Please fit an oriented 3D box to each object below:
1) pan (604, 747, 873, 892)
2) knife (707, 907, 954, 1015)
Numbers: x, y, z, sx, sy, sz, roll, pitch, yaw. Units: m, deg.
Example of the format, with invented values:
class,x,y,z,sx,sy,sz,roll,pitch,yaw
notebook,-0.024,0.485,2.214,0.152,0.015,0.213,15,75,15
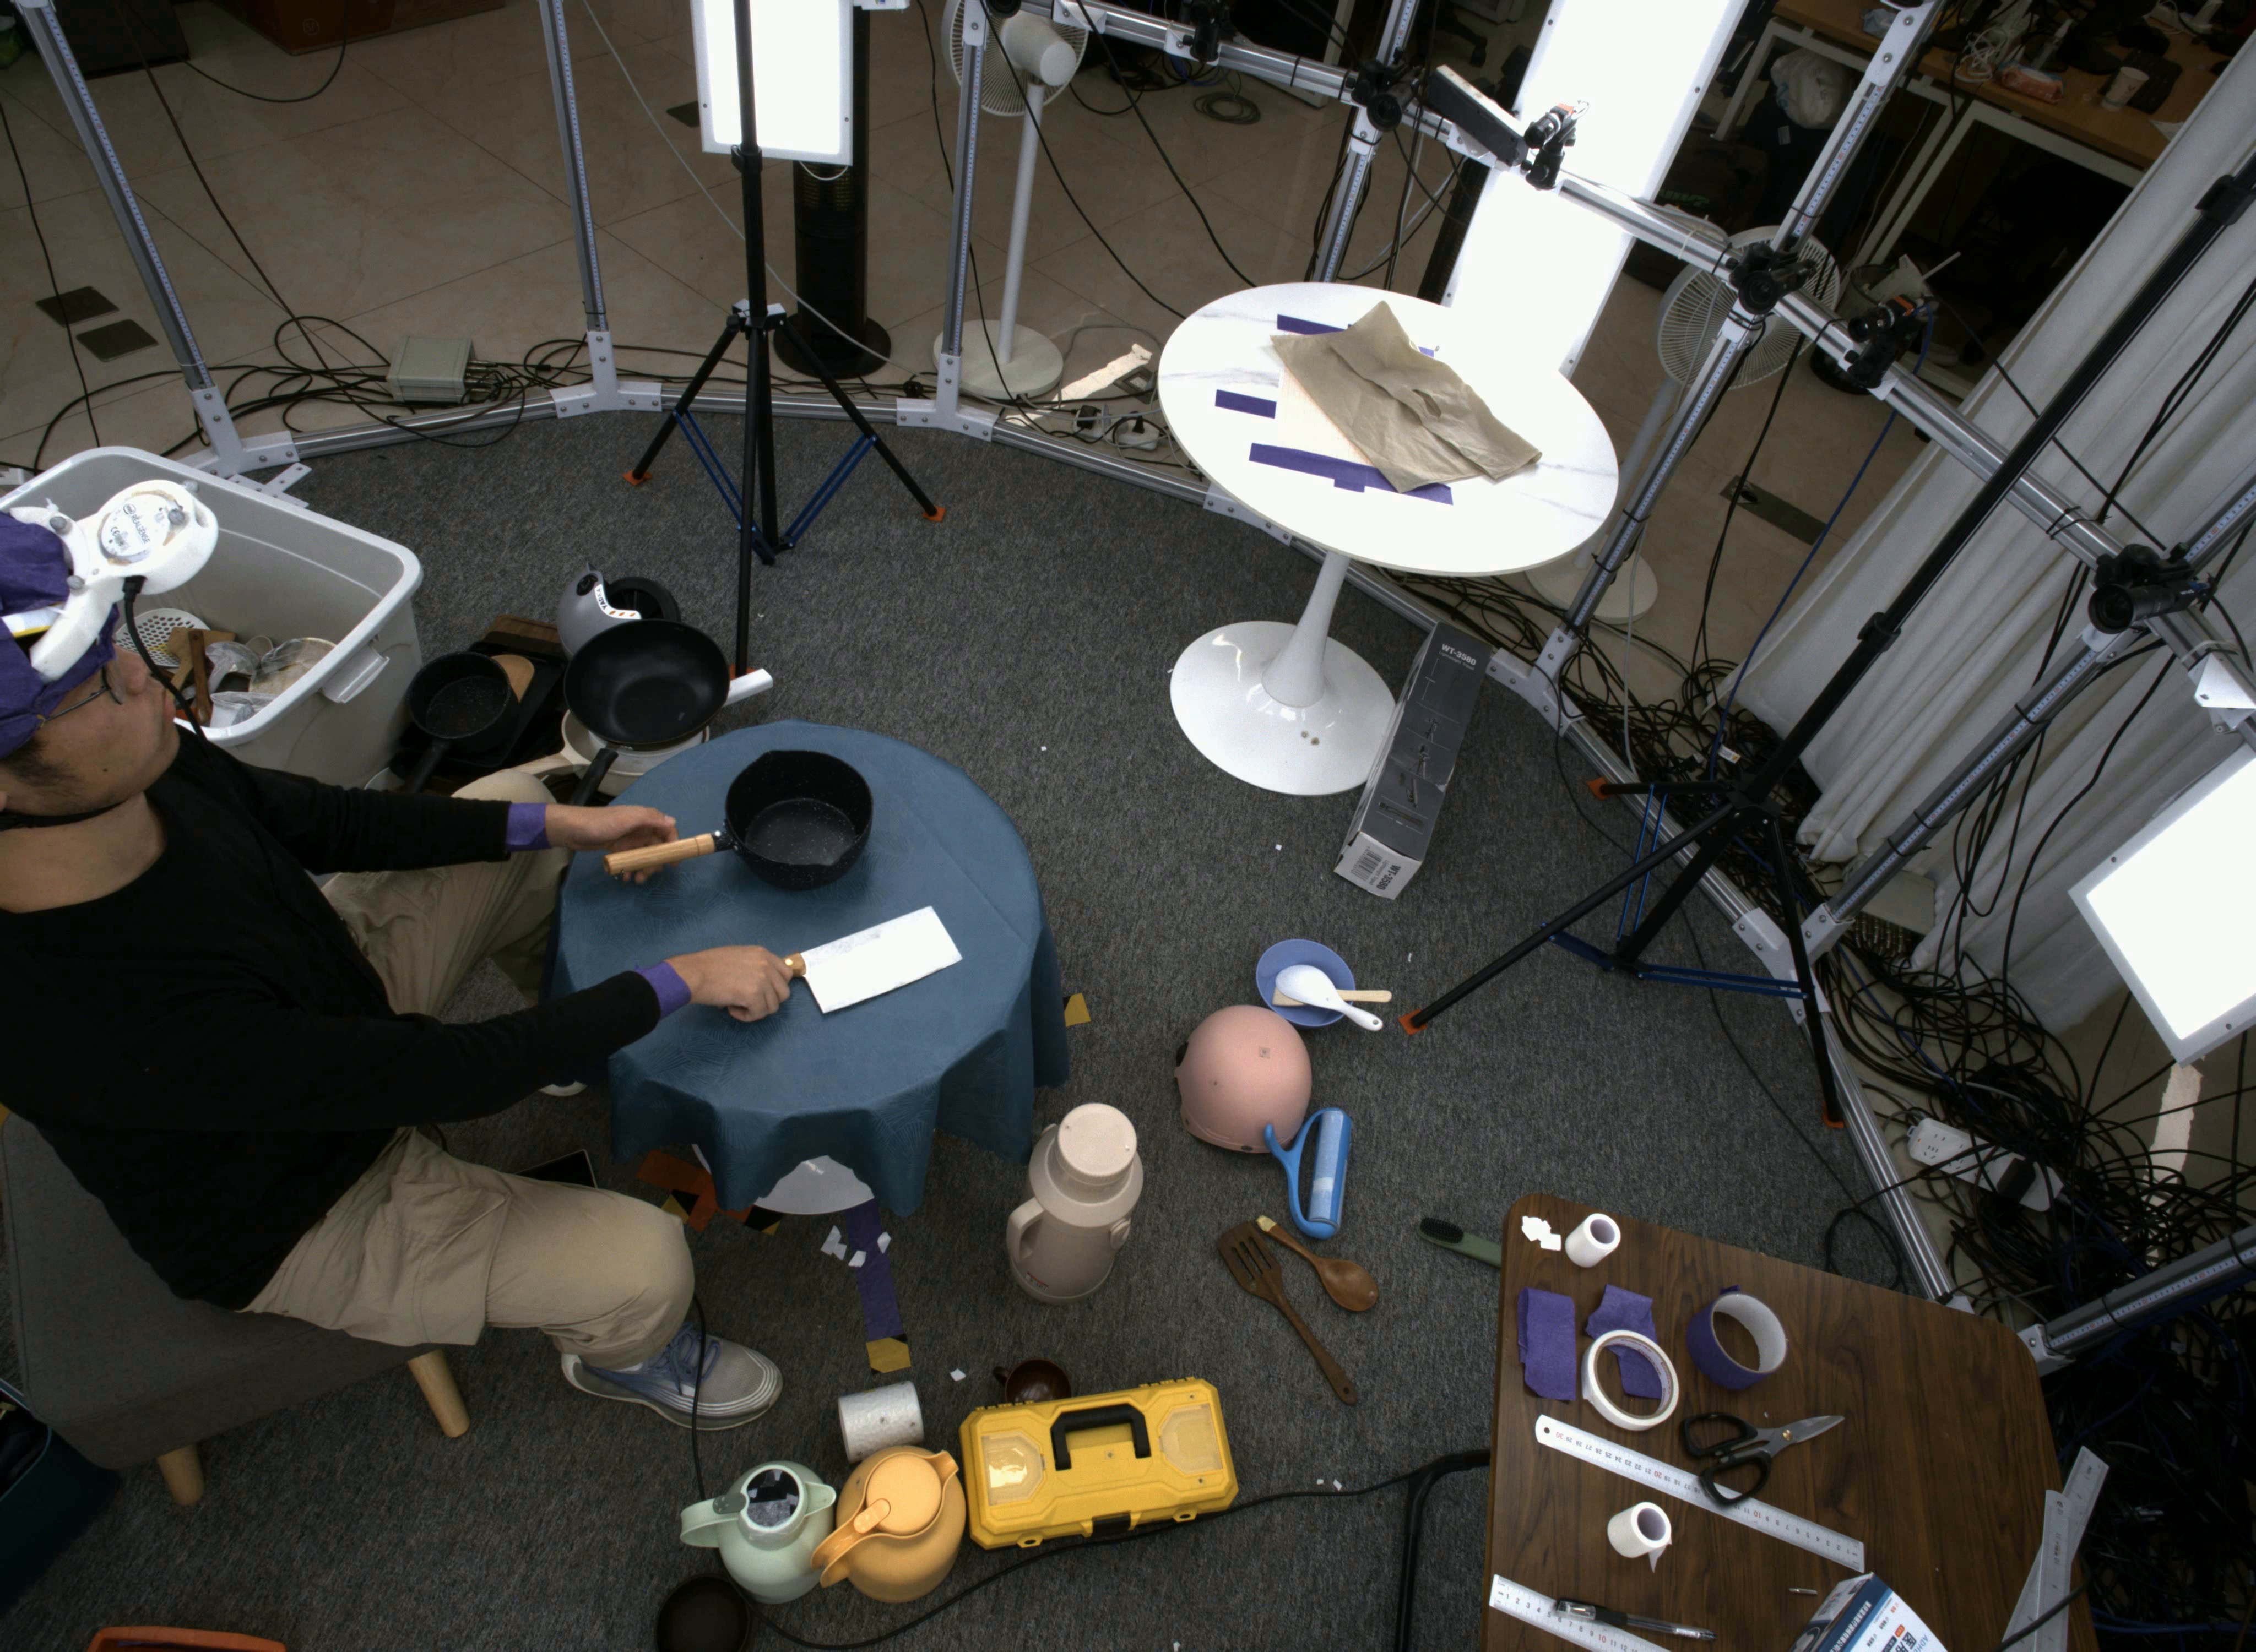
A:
class,x,y,z,sx,sy,sz,roll,pitch,yaw
pan,-0.486,0.018,1.623,0.344,0.110,0.202,-23,62,-29
knife,-0.357,0.178,1.595,0.308,0.021,0.090,-20,62,-30
